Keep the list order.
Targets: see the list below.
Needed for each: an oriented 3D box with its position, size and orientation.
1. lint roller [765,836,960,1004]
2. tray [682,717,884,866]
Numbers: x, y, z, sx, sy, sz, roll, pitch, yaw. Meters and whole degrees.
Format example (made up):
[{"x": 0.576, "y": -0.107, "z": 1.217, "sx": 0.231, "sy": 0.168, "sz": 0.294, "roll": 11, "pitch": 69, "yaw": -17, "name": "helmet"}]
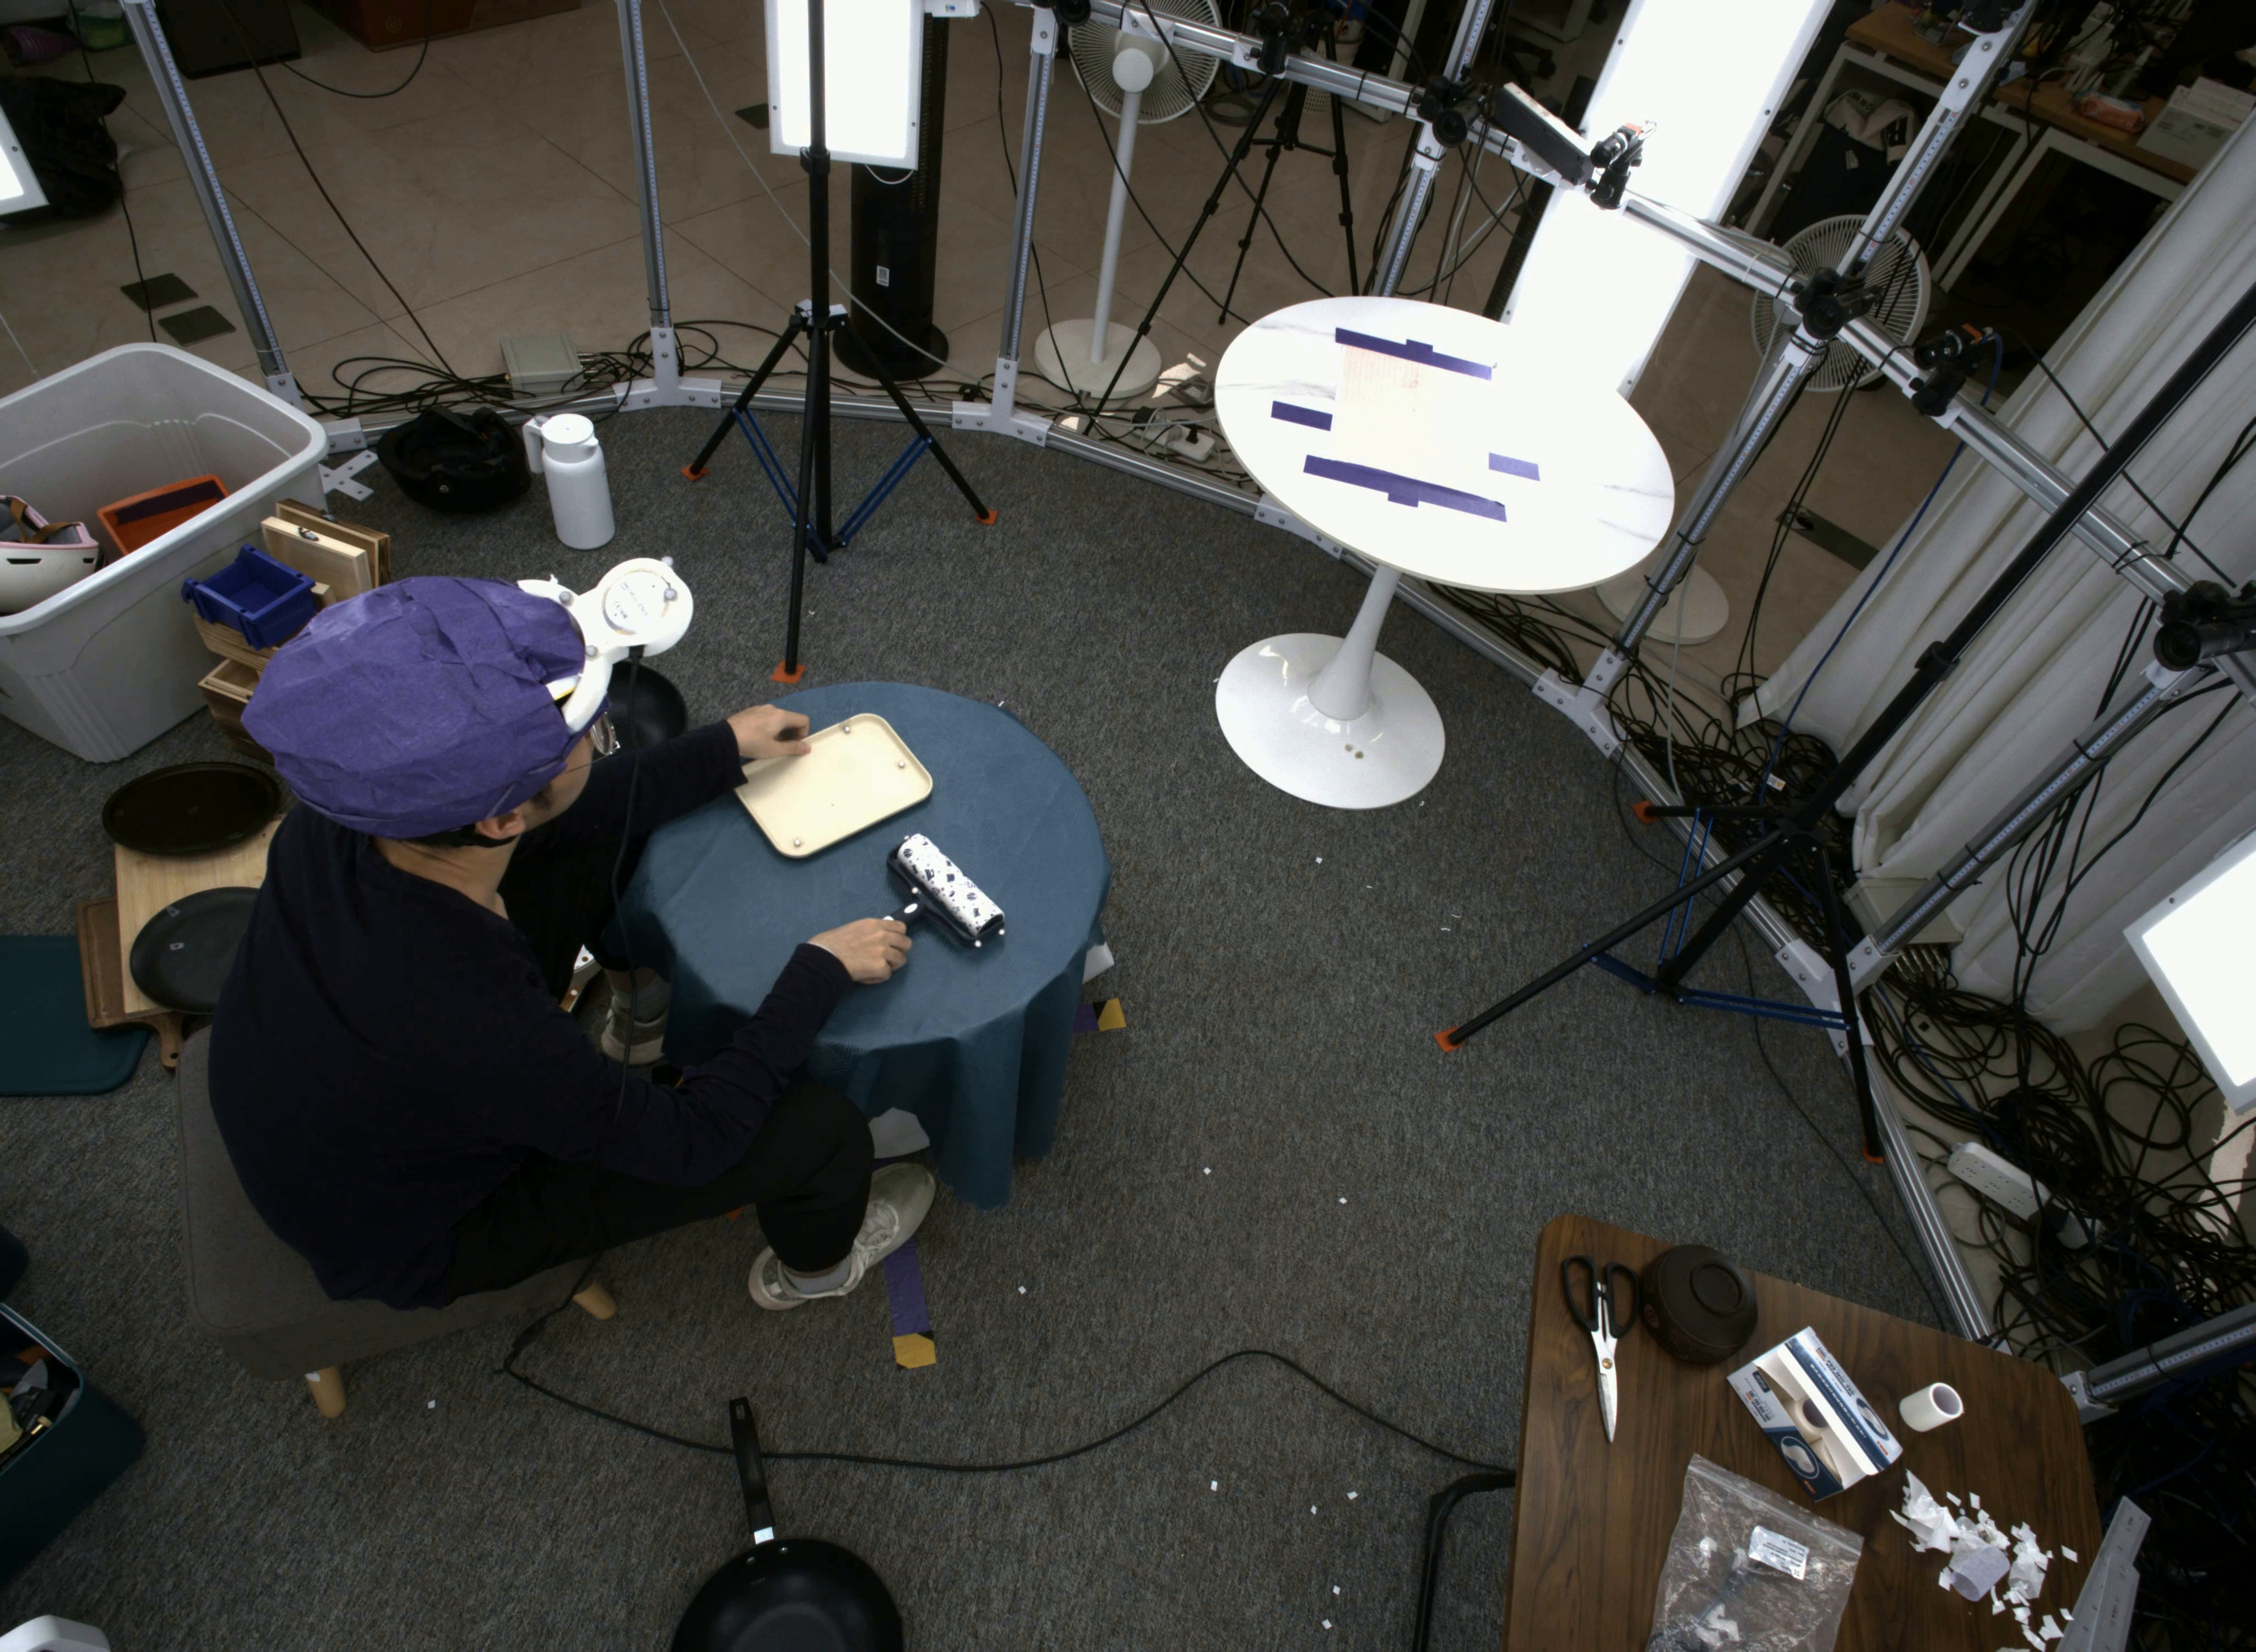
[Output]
[{"x": -0.353, "y": 0.133, "z": 1.628, "sx": 0.172, "sy": 0.051, "sz": 0.247, "roll": 40, "pitch": 57, "yaw": 15, "name": "lint roller"}, {"x": -0.464, "y": -0.049, "z": 1.748, "sx": 0.240, "sy": 0.018, "sz": 0.167, "roll": -31, "pitch": 68, "yaw": -31, "name": "tray"}]
